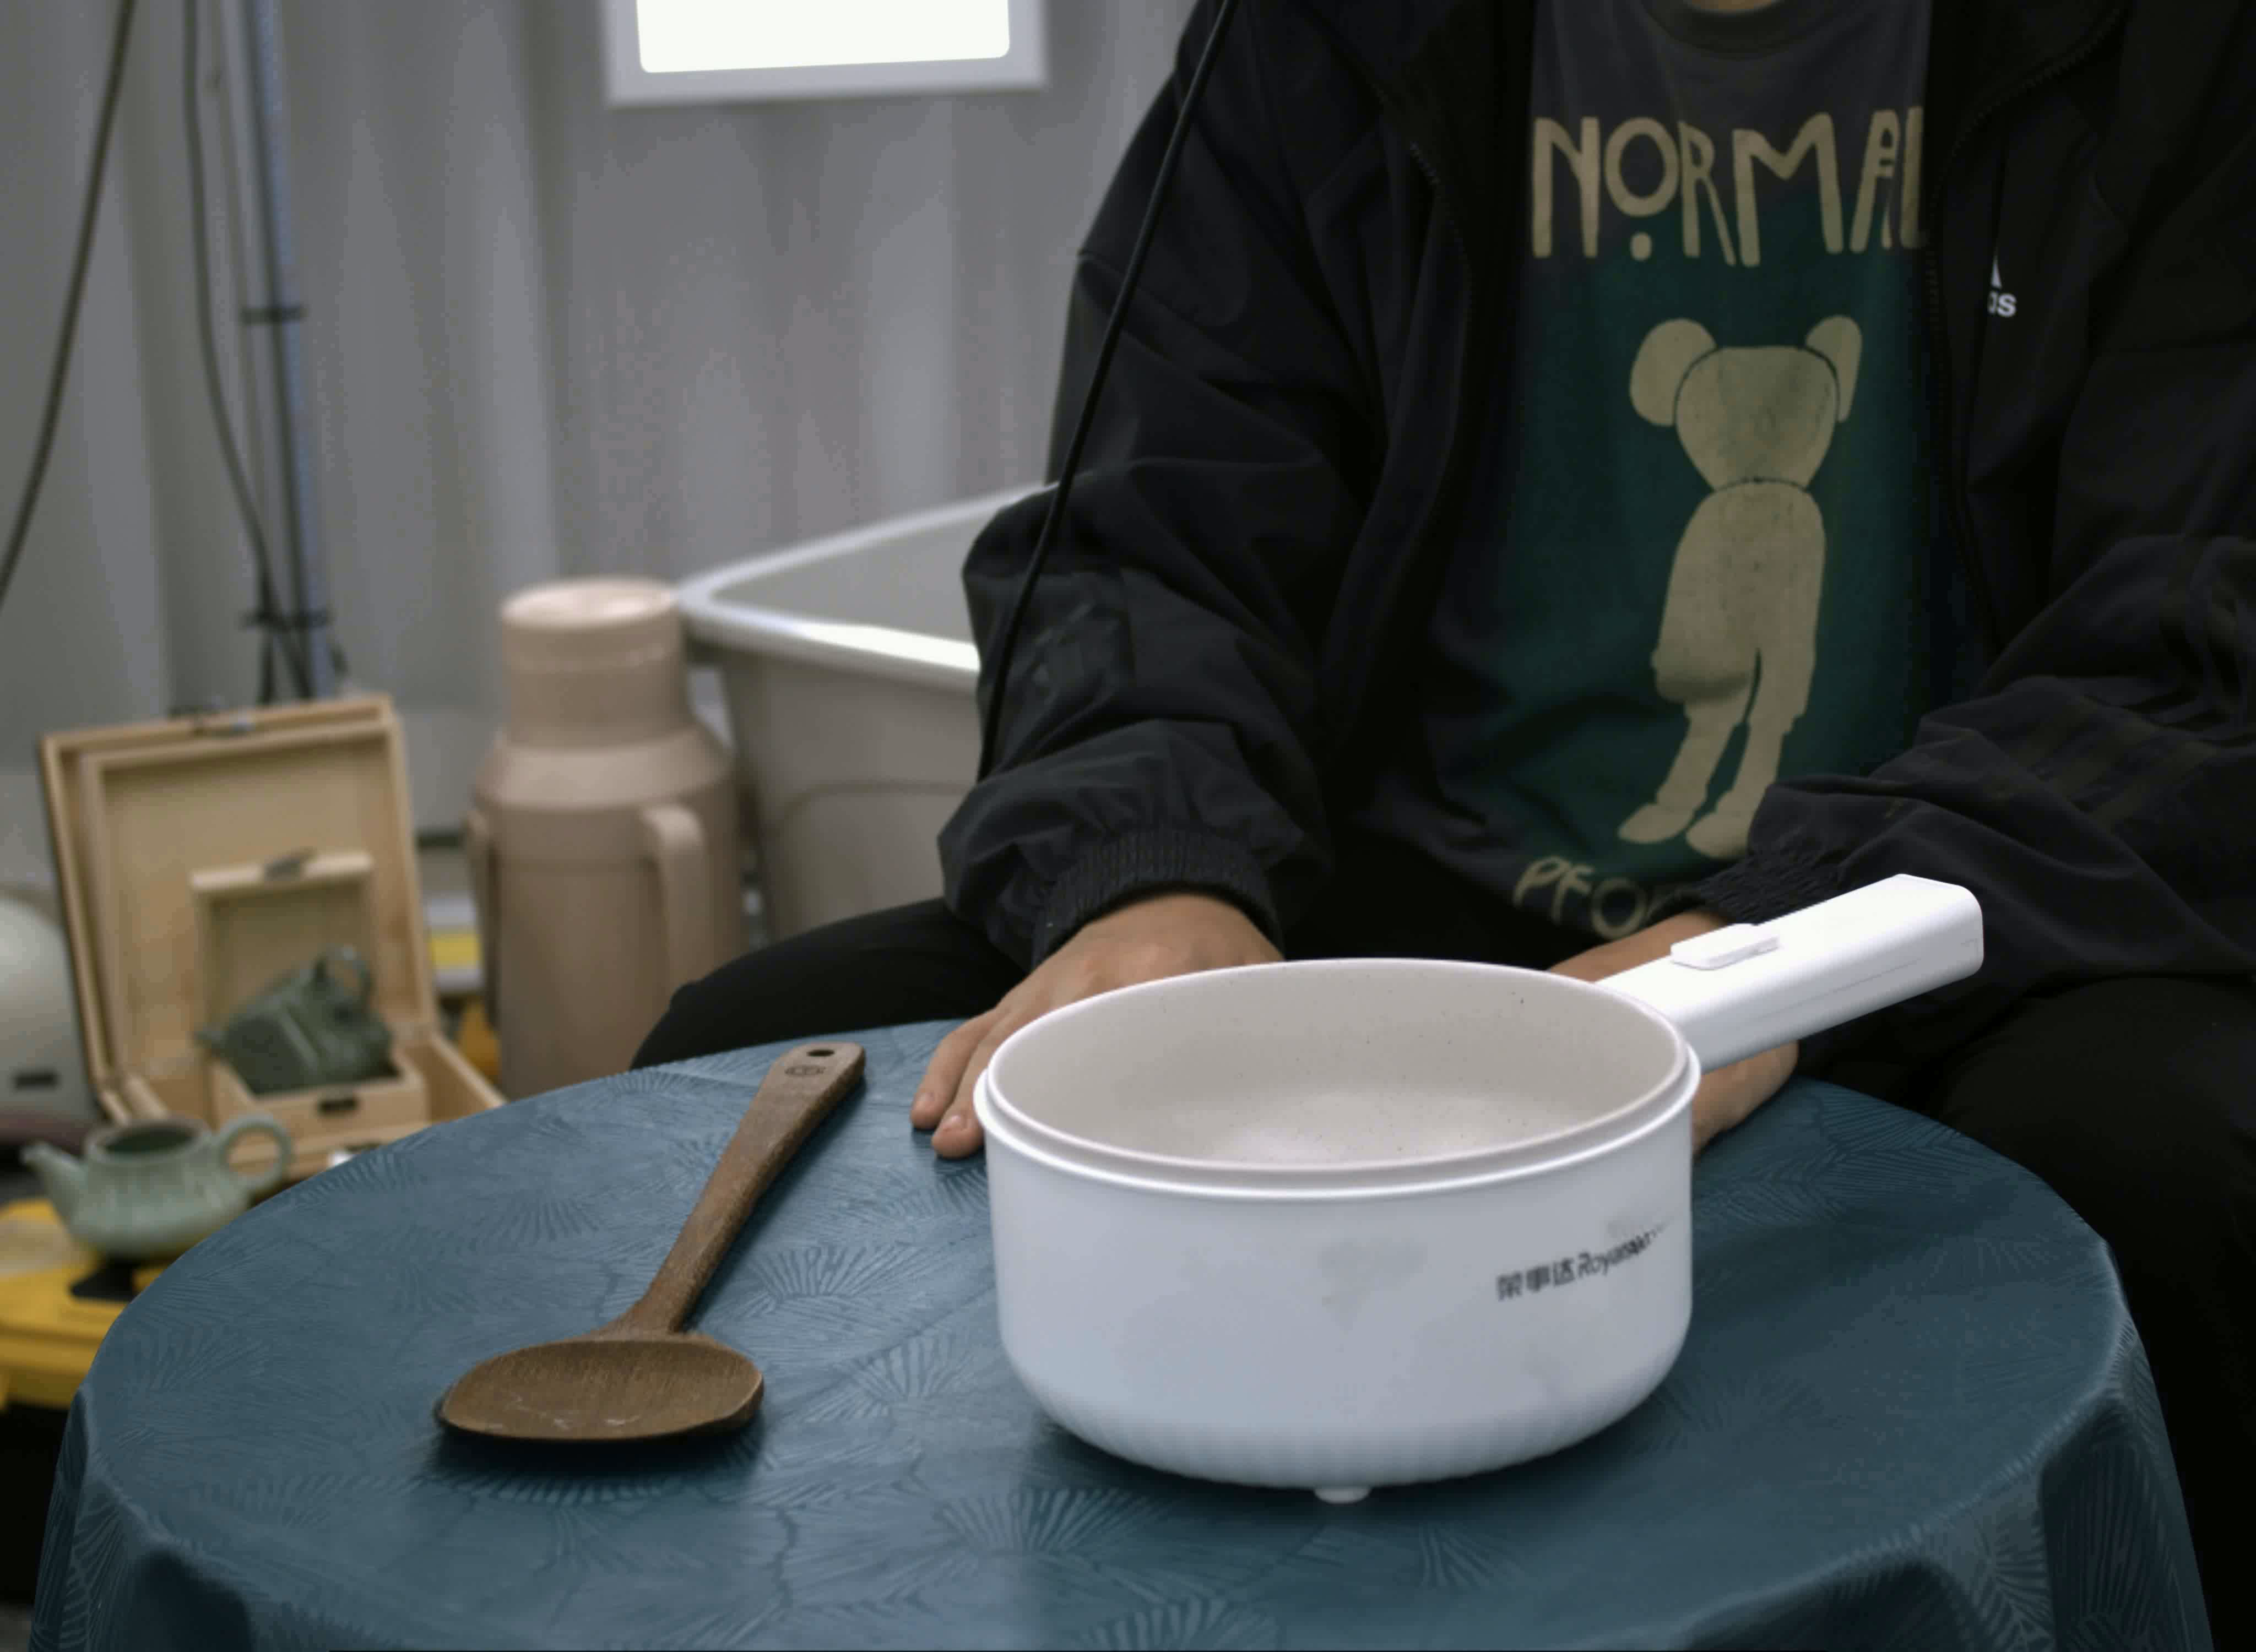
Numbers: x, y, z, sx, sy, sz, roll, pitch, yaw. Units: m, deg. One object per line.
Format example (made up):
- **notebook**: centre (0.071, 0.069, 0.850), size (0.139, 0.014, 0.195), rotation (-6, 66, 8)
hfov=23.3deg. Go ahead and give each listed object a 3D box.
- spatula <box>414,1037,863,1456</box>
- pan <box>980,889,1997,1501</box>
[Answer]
- **spatula**: centre (-0.128, 0.123, 1.681), size (0.096, 0.016, 0.388), rotation (0, 15, 8)
- **pan**: centre (0.118, 0.098, 1.567), size (0.353, 0.102, 0.202), rotation (-13, 17, -40)
